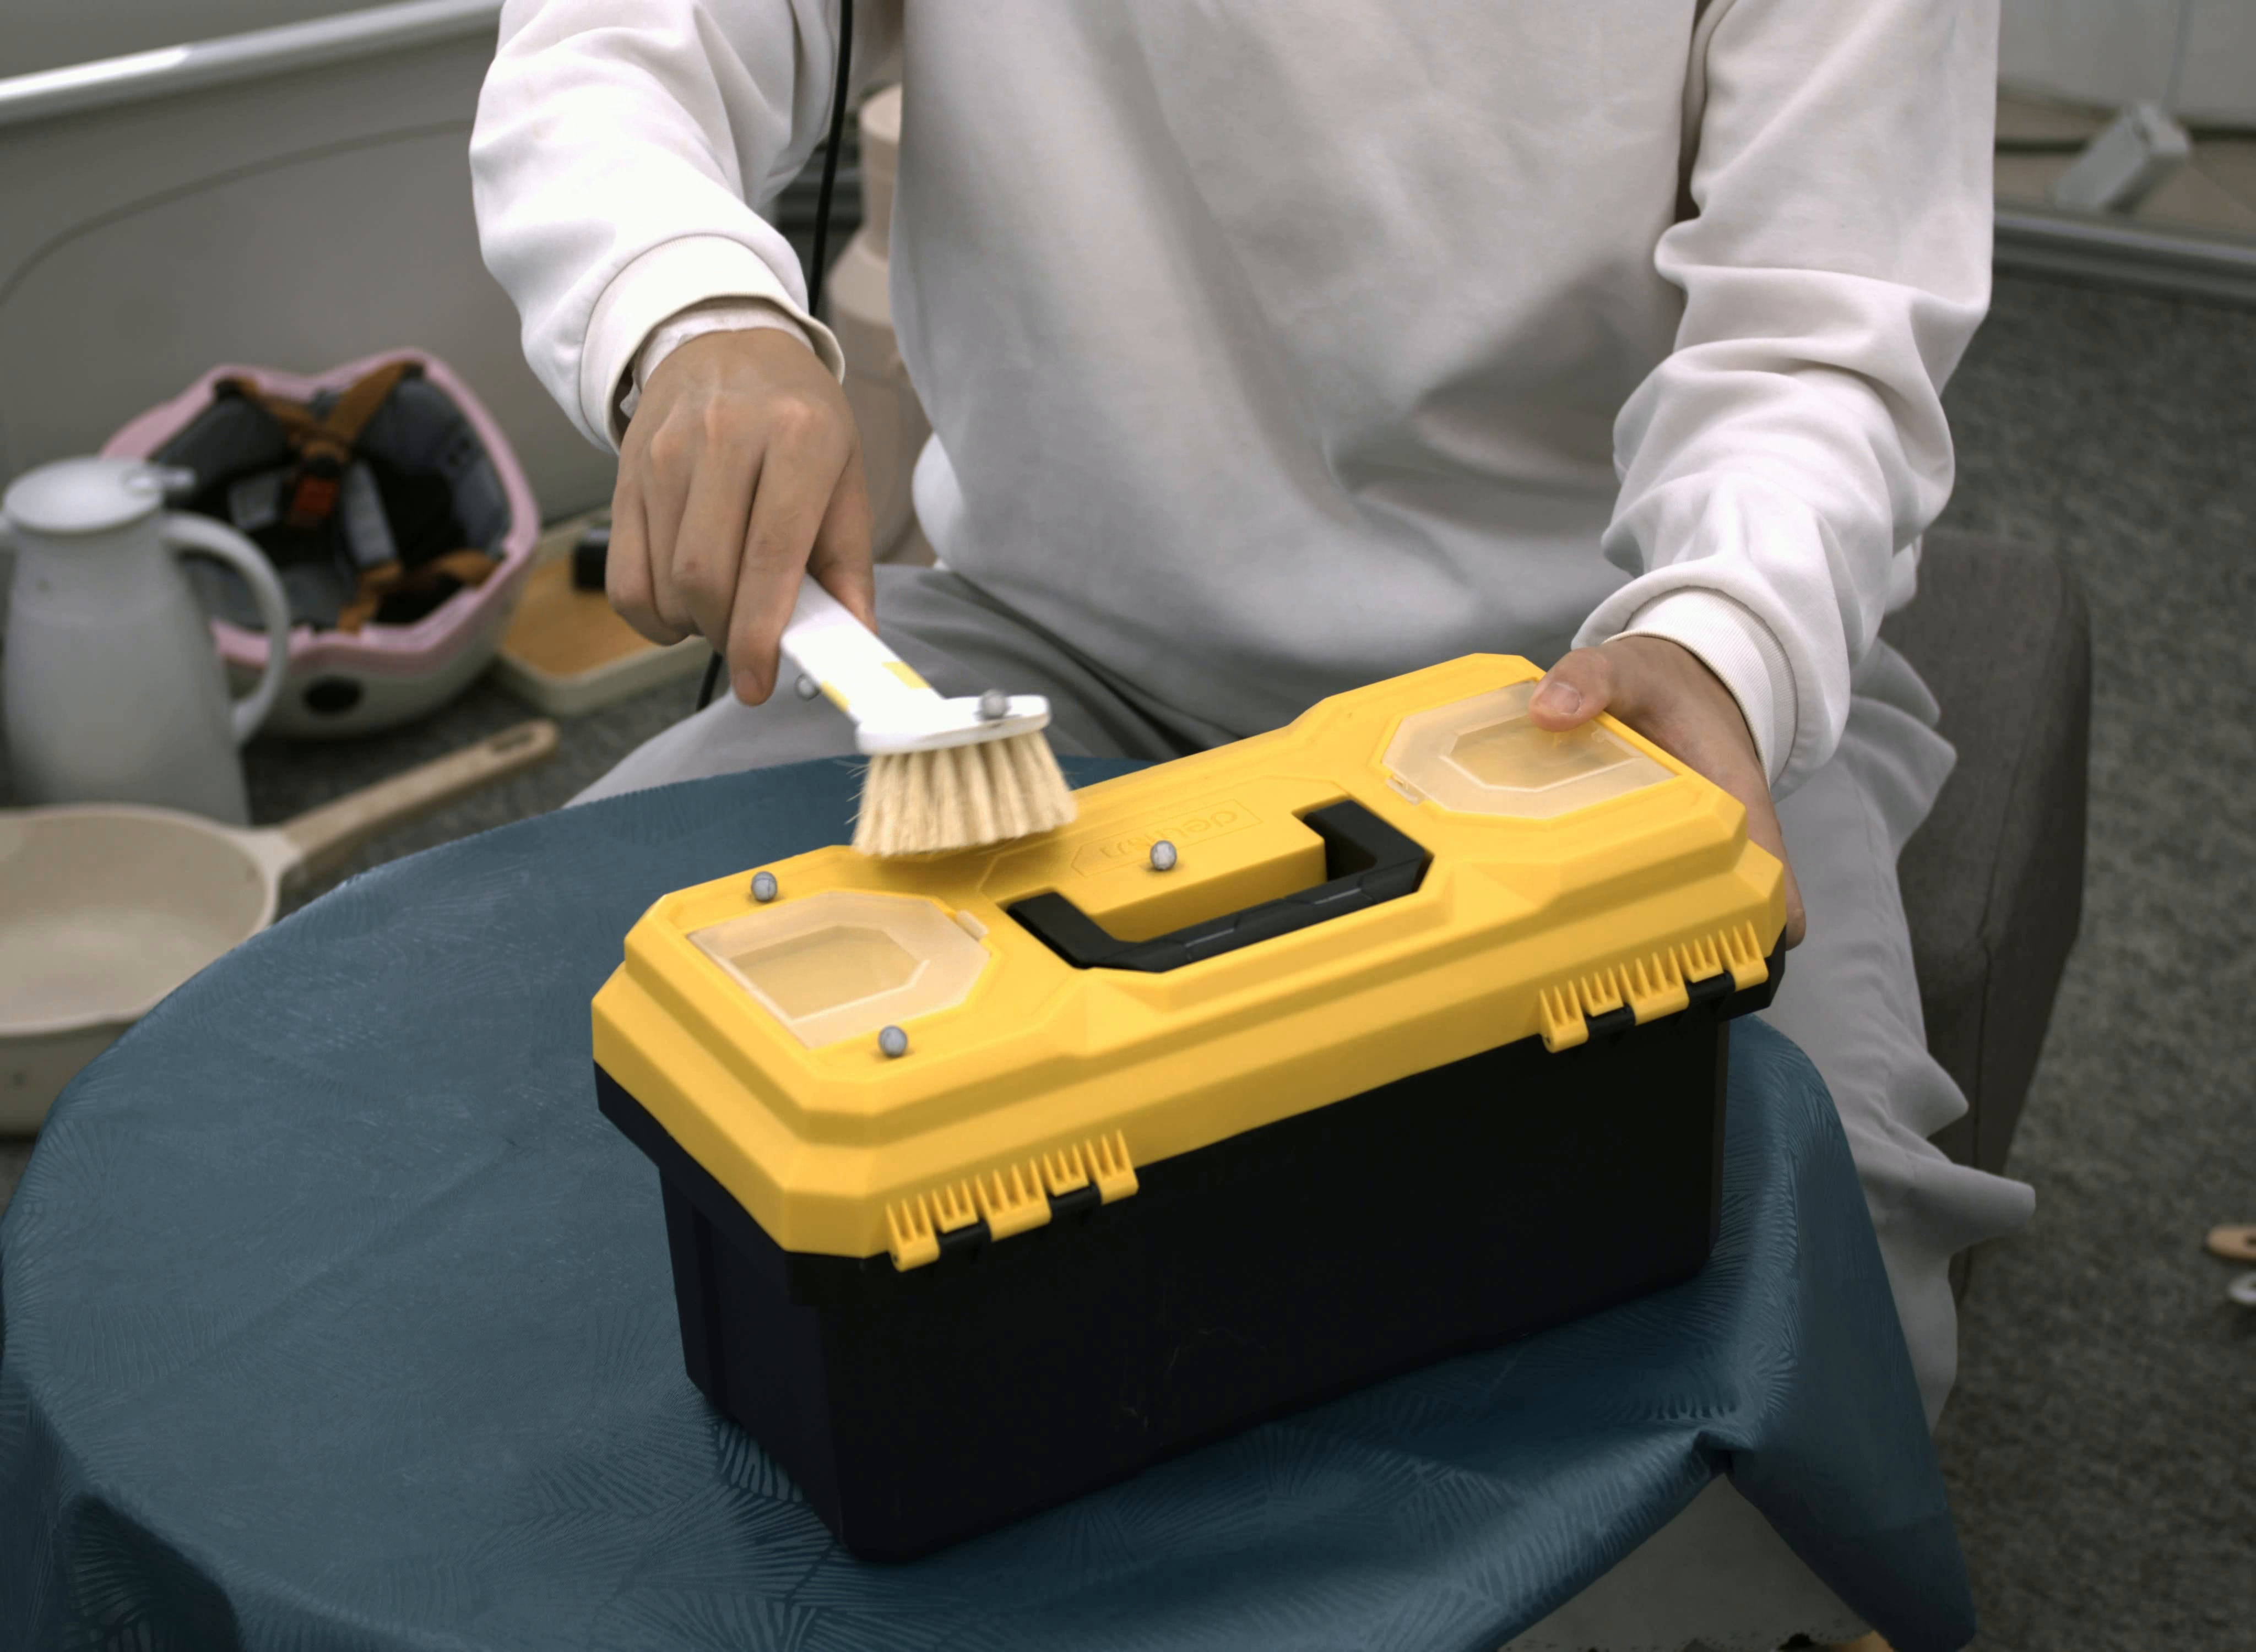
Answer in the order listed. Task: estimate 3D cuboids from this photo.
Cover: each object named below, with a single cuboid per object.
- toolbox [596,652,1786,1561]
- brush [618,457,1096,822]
[{"bbox_3d":[0.022,0.083,1.752,0.353,0.171,0.182,-16,31,-26],"label":"toolbox"},{"bbox_3d":[-0.094,-0.057,1.801,0.069,0.056,0.267,-7,22,-32],"label":"brush"}]
